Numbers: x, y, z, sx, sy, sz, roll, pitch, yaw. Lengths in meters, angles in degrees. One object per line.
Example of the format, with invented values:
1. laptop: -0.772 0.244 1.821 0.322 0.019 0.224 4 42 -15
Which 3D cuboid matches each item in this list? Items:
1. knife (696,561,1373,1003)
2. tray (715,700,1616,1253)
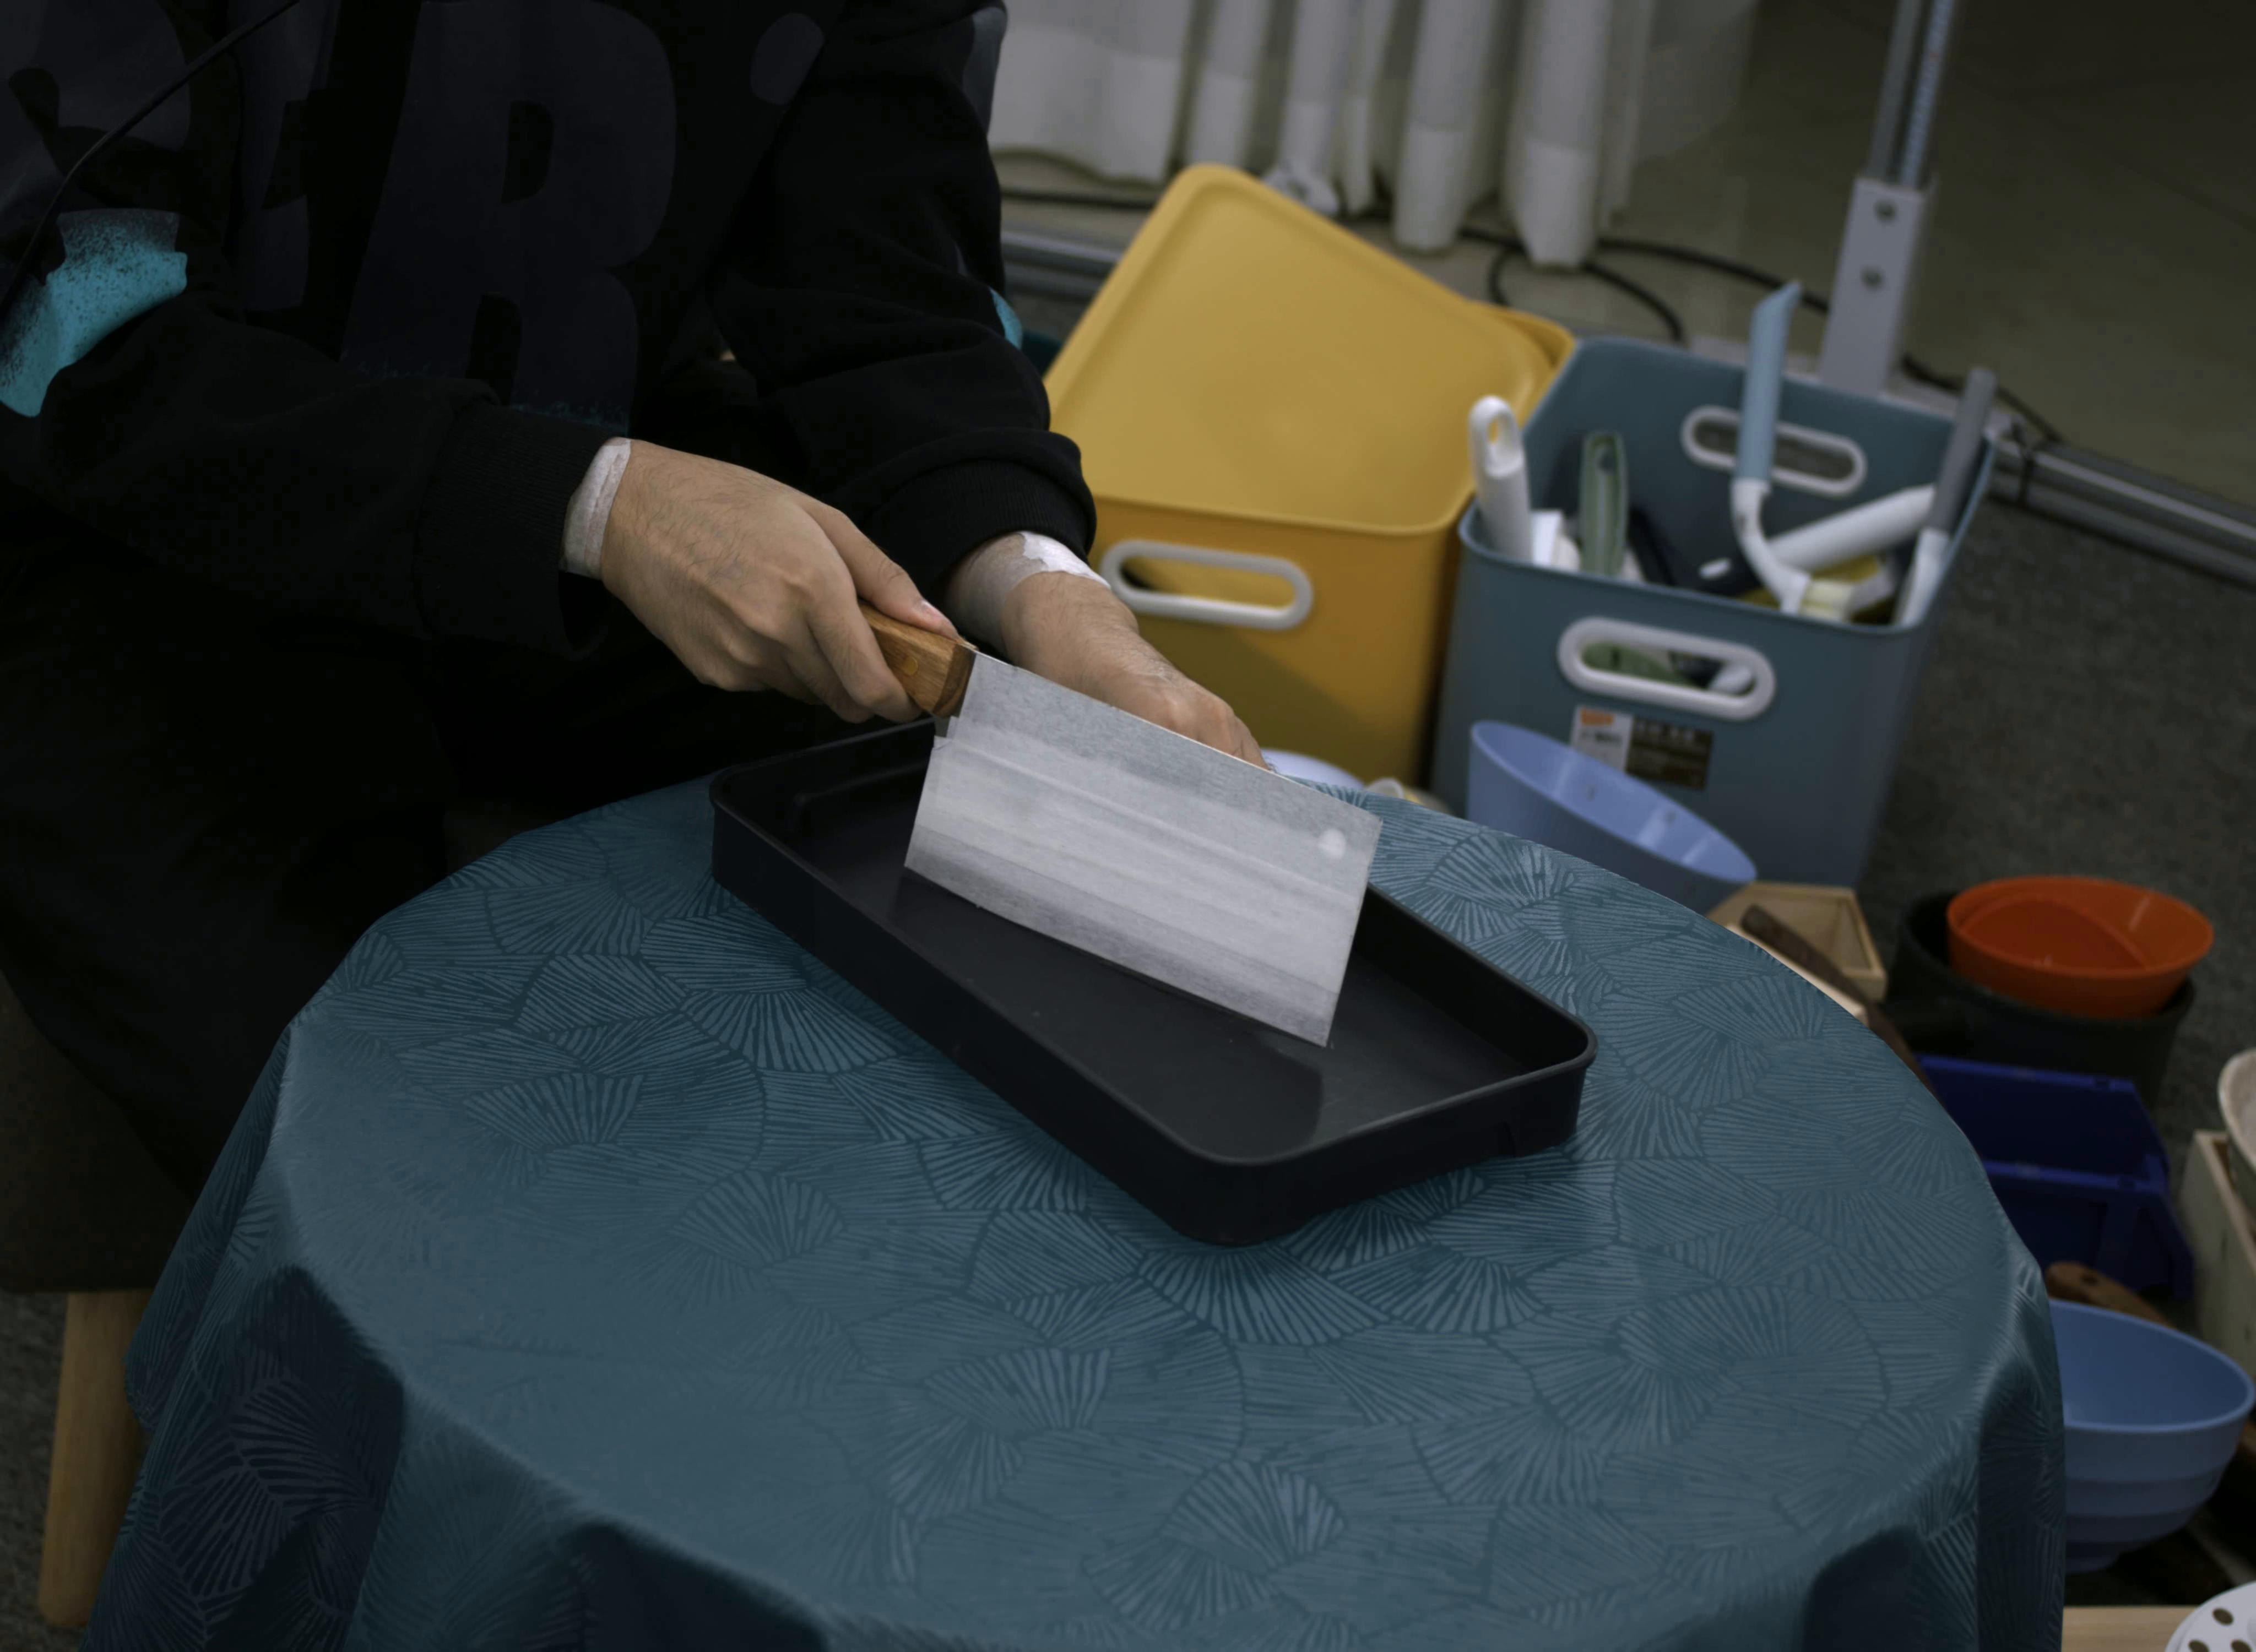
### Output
1. knife: -0.043 -0.014 1.947 0.307 0.093 0.021 23 18 30
2. tray: 0.008 0.047 1.913 0.183 0.037 0.320 -16 35 -37
